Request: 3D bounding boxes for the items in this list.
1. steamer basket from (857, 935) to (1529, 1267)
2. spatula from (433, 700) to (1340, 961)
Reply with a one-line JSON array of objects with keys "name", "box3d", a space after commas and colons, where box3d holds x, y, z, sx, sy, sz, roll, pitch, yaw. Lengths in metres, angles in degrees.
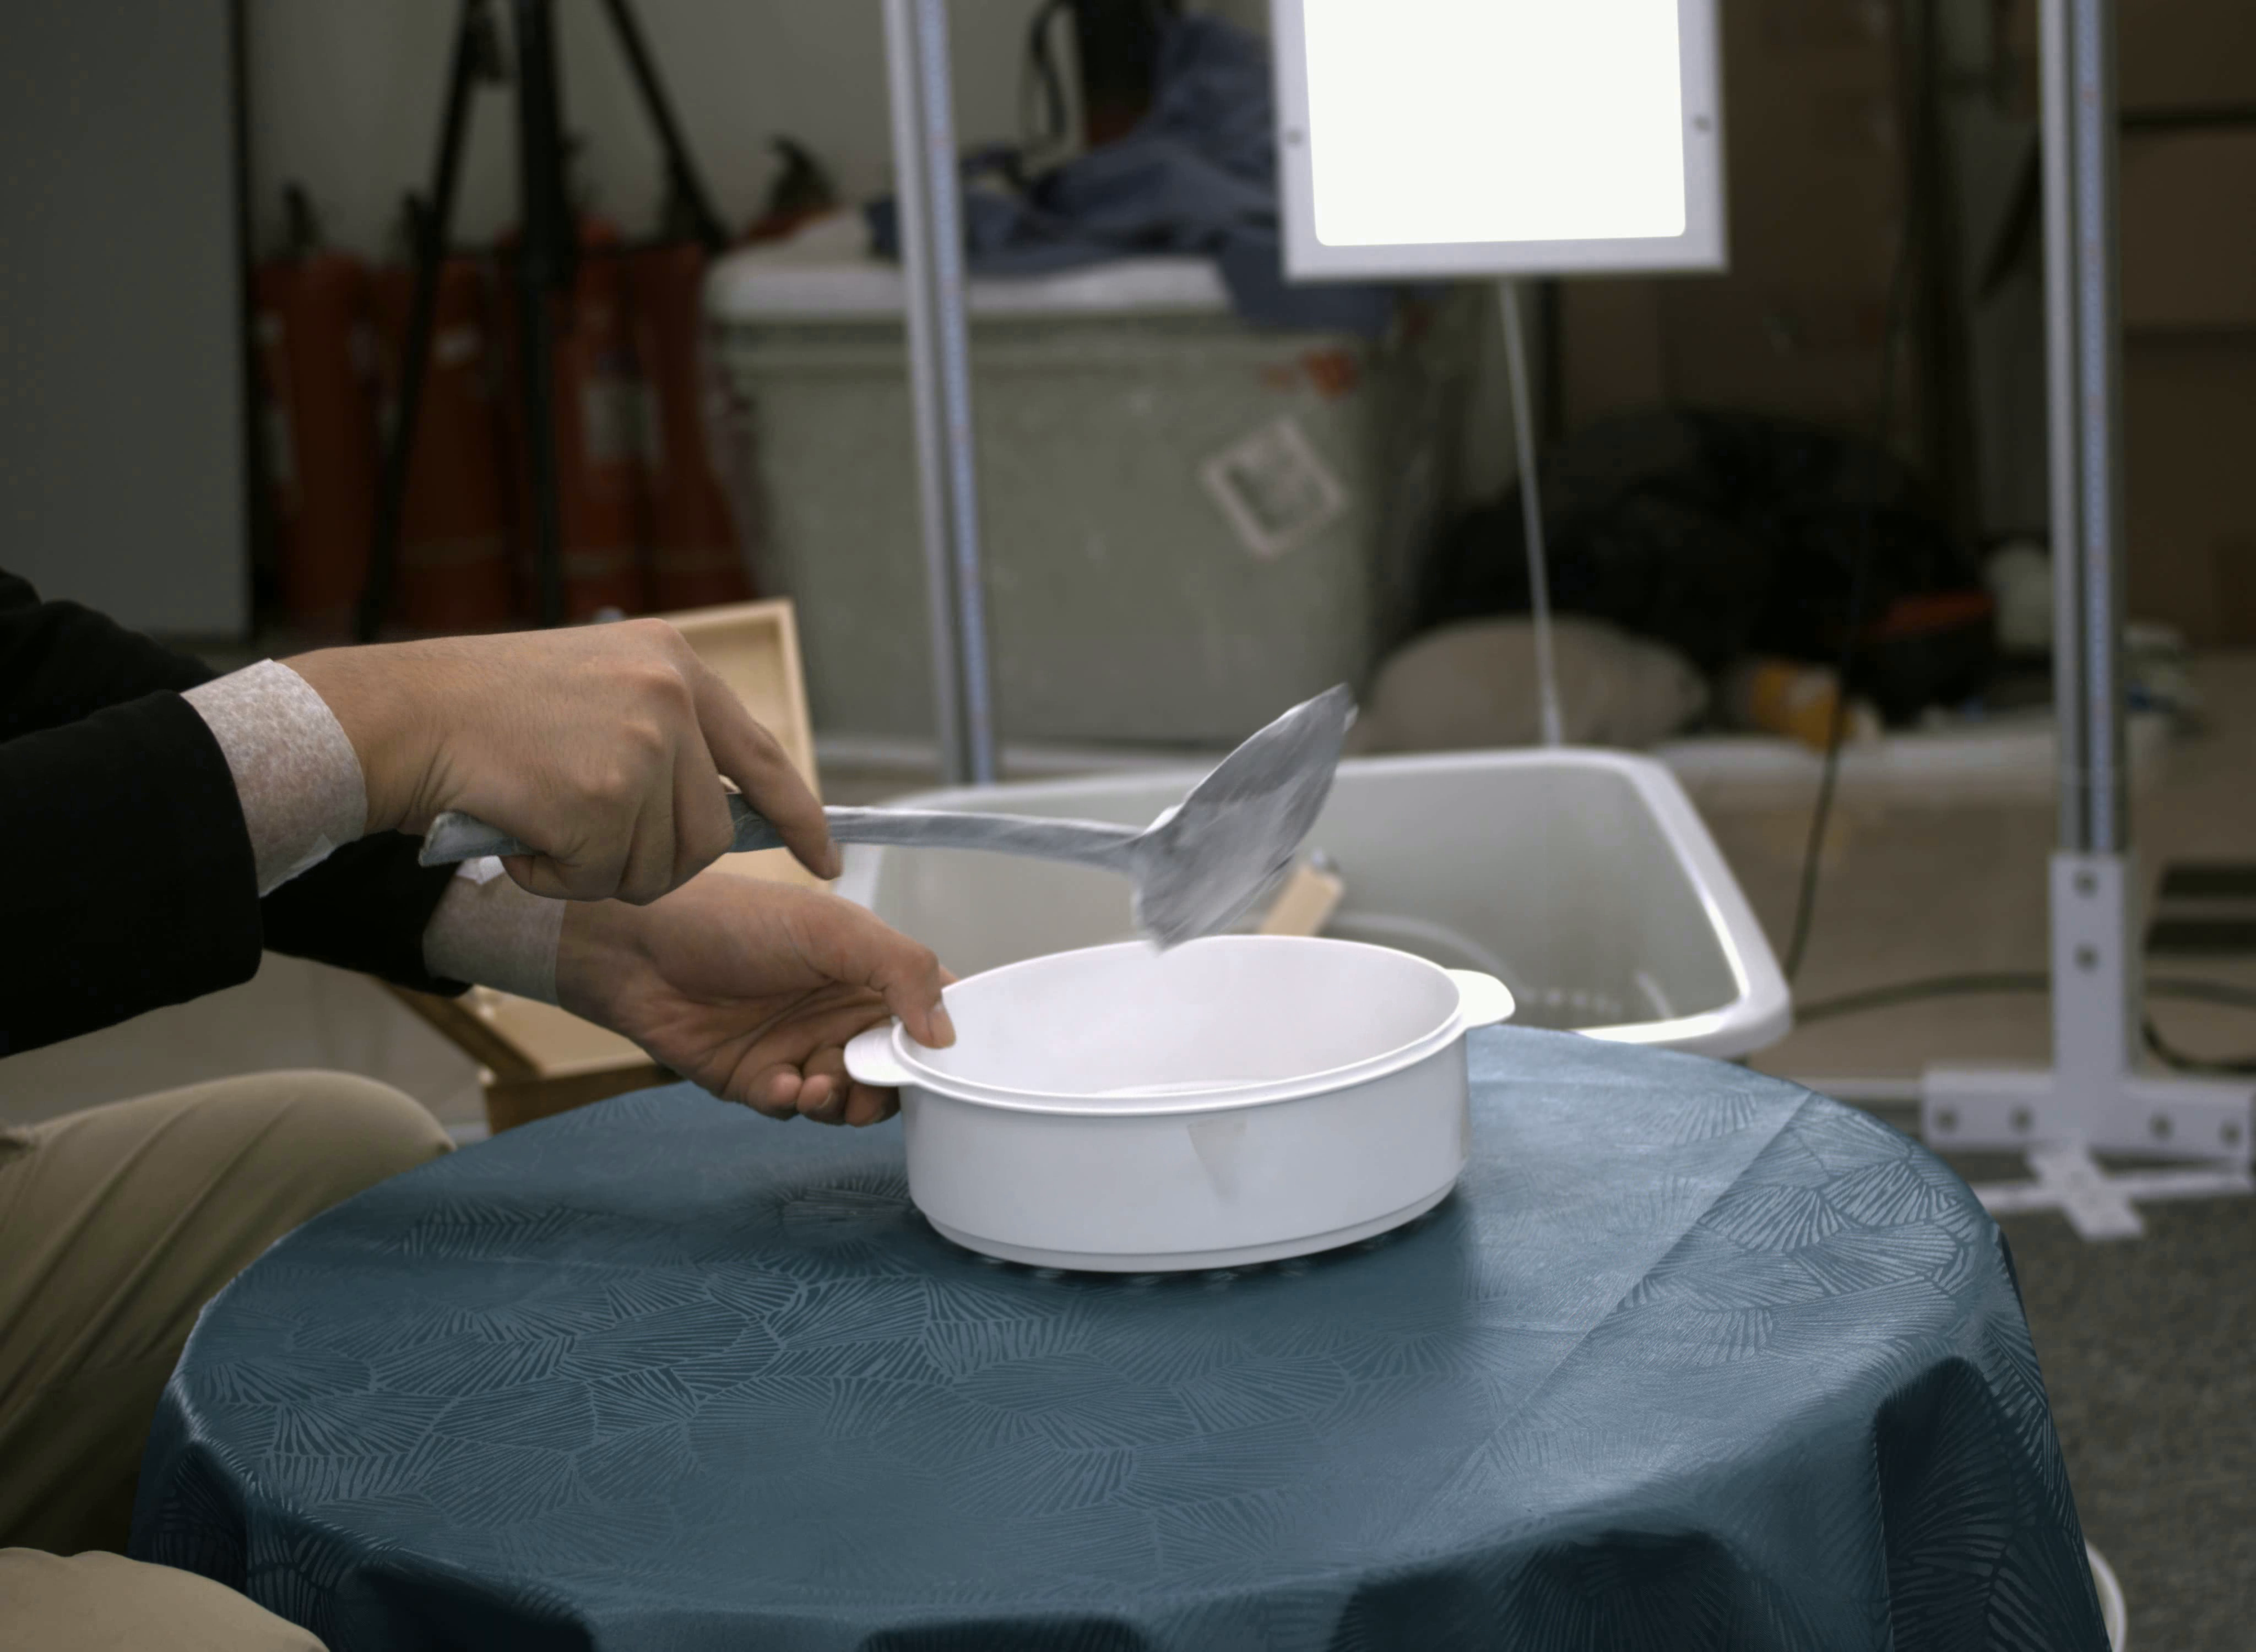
[{"name": "steamer basket", "box3d": [0.025, 0.094, 1.876, 0.229, 0.069, 0.202, -7, 13, -2]}, {"name": "spatula", "box3d": [-0.070, 0.002, 1.753, 0.356, 0.100, 0.045, 2, 35, -36]}]
